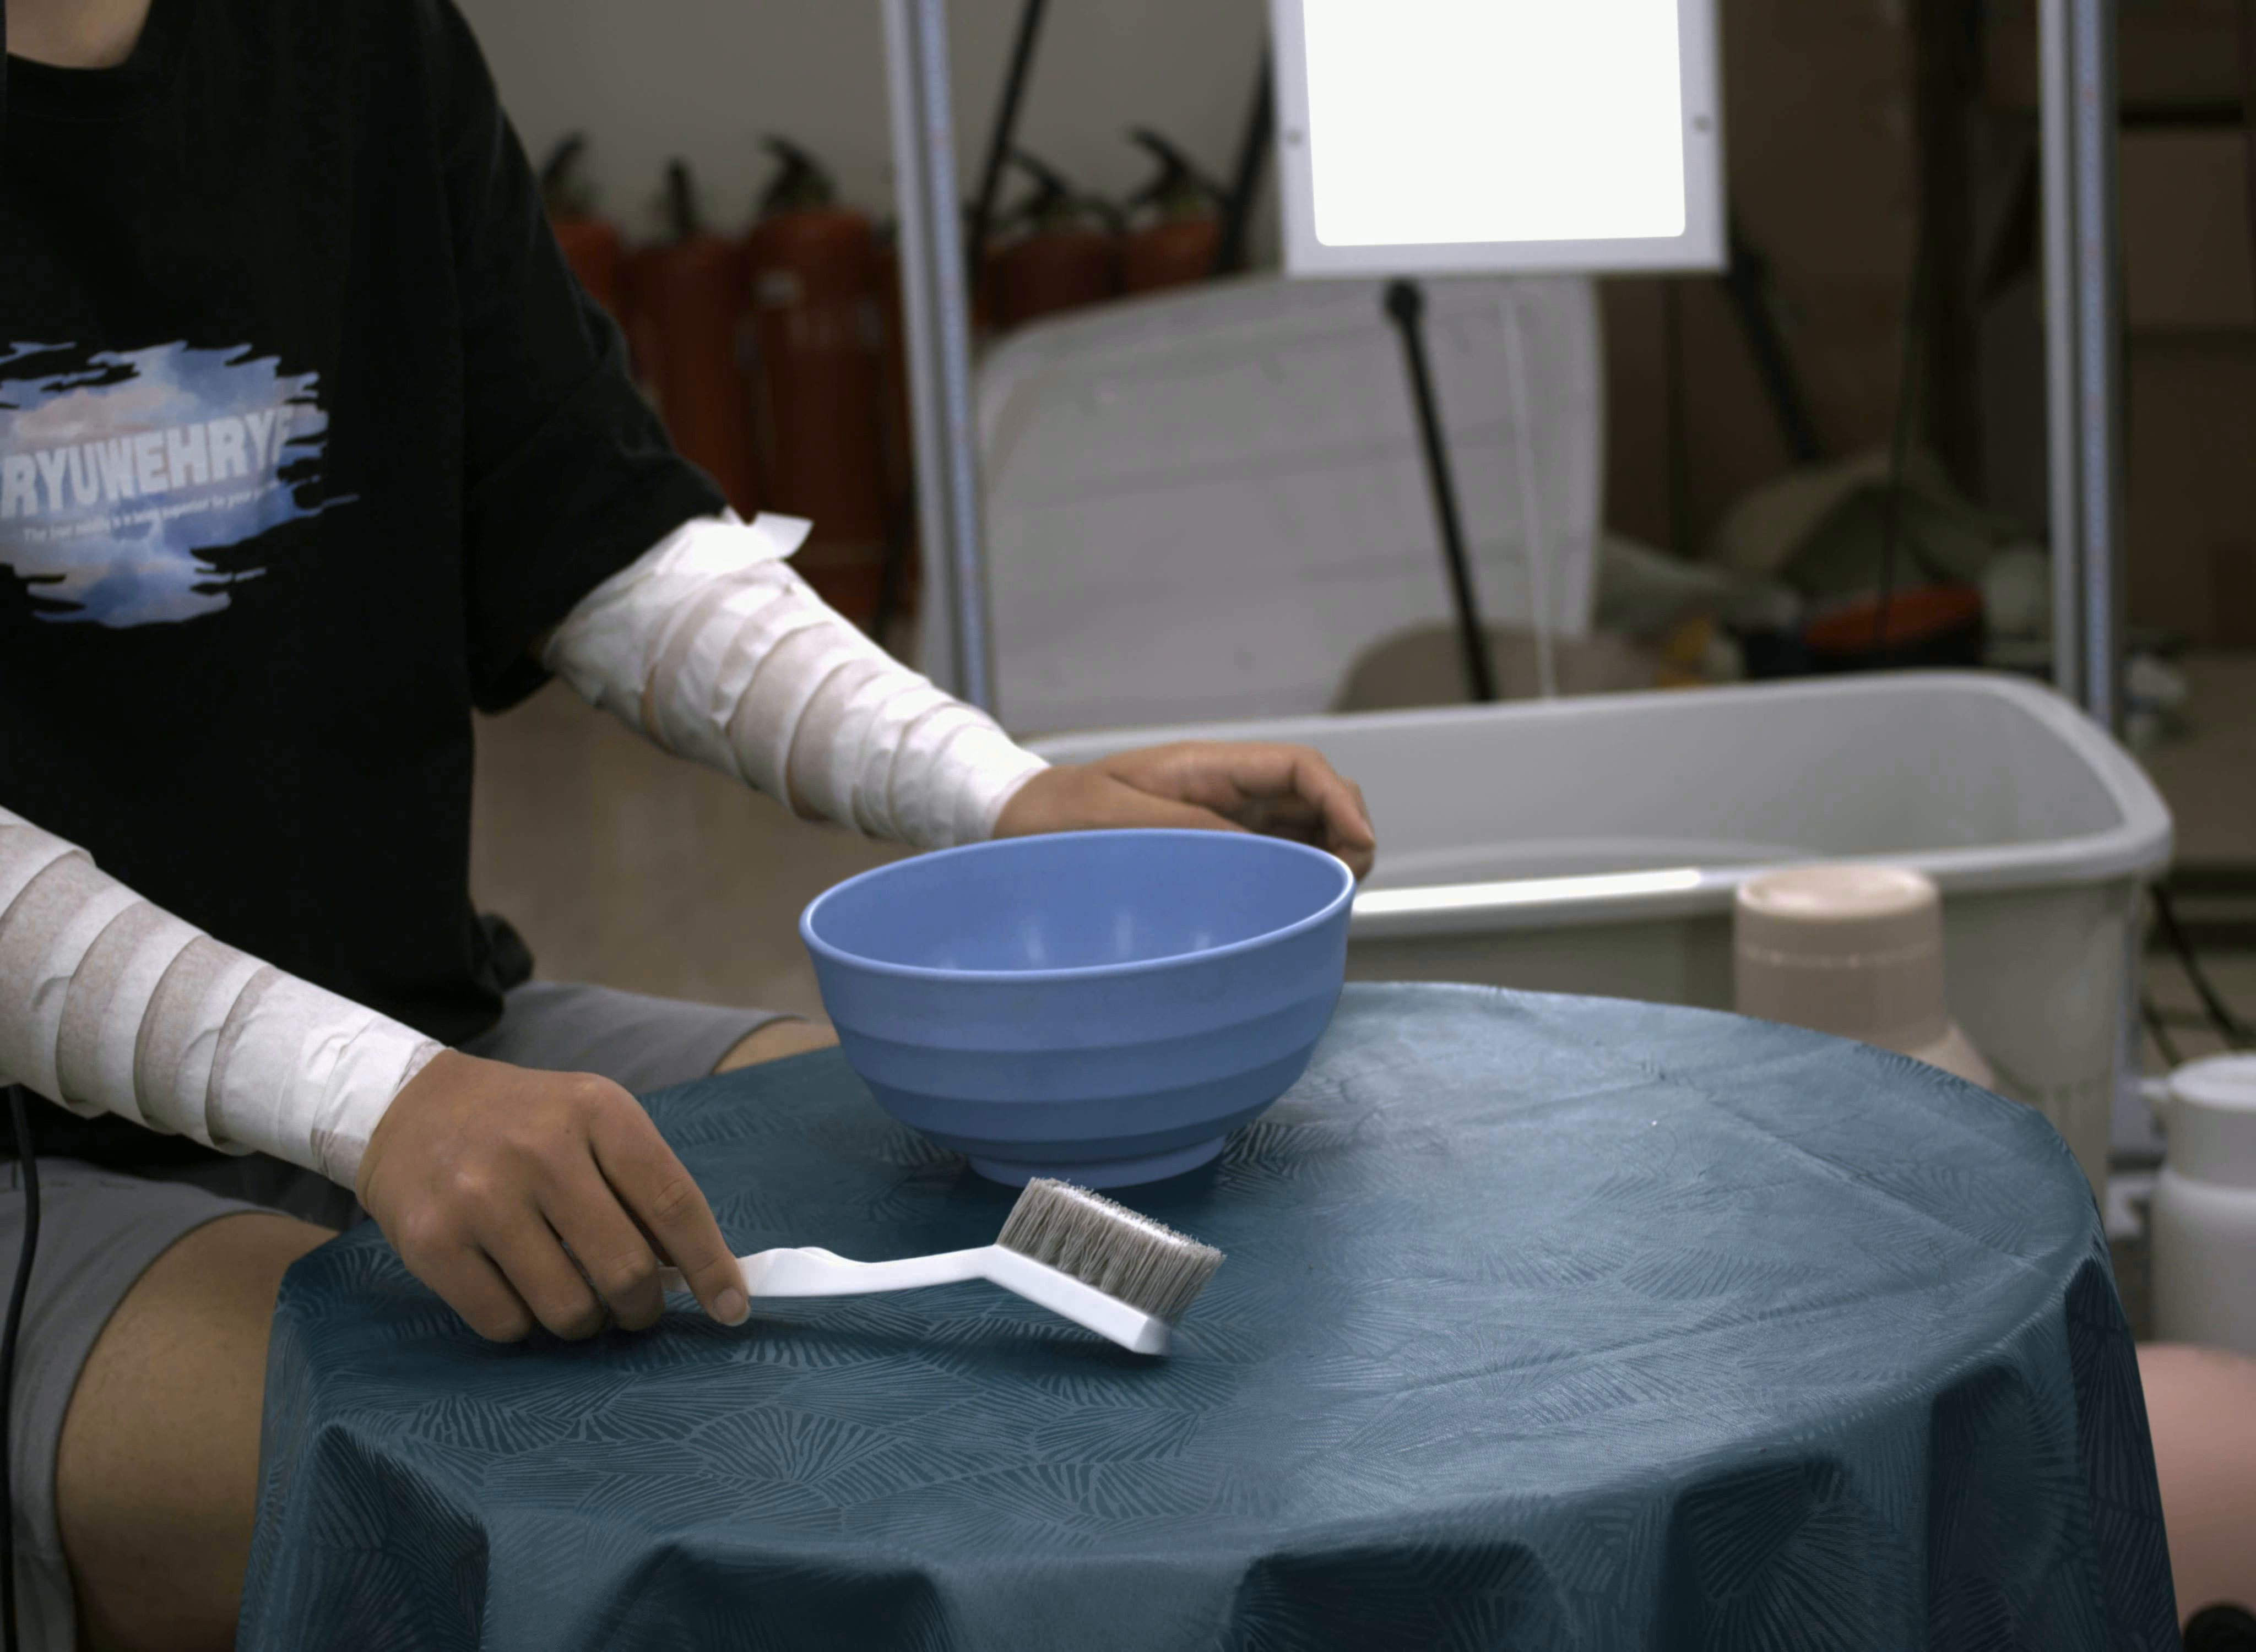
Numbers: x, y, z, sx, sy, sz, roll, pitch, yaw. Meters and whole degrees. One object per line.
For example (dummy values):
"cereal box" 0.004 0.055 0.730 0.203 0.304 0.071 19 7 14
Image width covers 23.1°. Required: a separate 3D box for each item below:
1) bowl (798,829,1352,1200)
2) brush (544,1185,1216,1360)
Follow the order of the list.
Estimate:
"bowl" -0.013 0.072 1.938 0.196 0.096 0.196 -8 14 0
"brush" -0.084 0.134 1.776 0.248 0.050 0.033 5 2 31
